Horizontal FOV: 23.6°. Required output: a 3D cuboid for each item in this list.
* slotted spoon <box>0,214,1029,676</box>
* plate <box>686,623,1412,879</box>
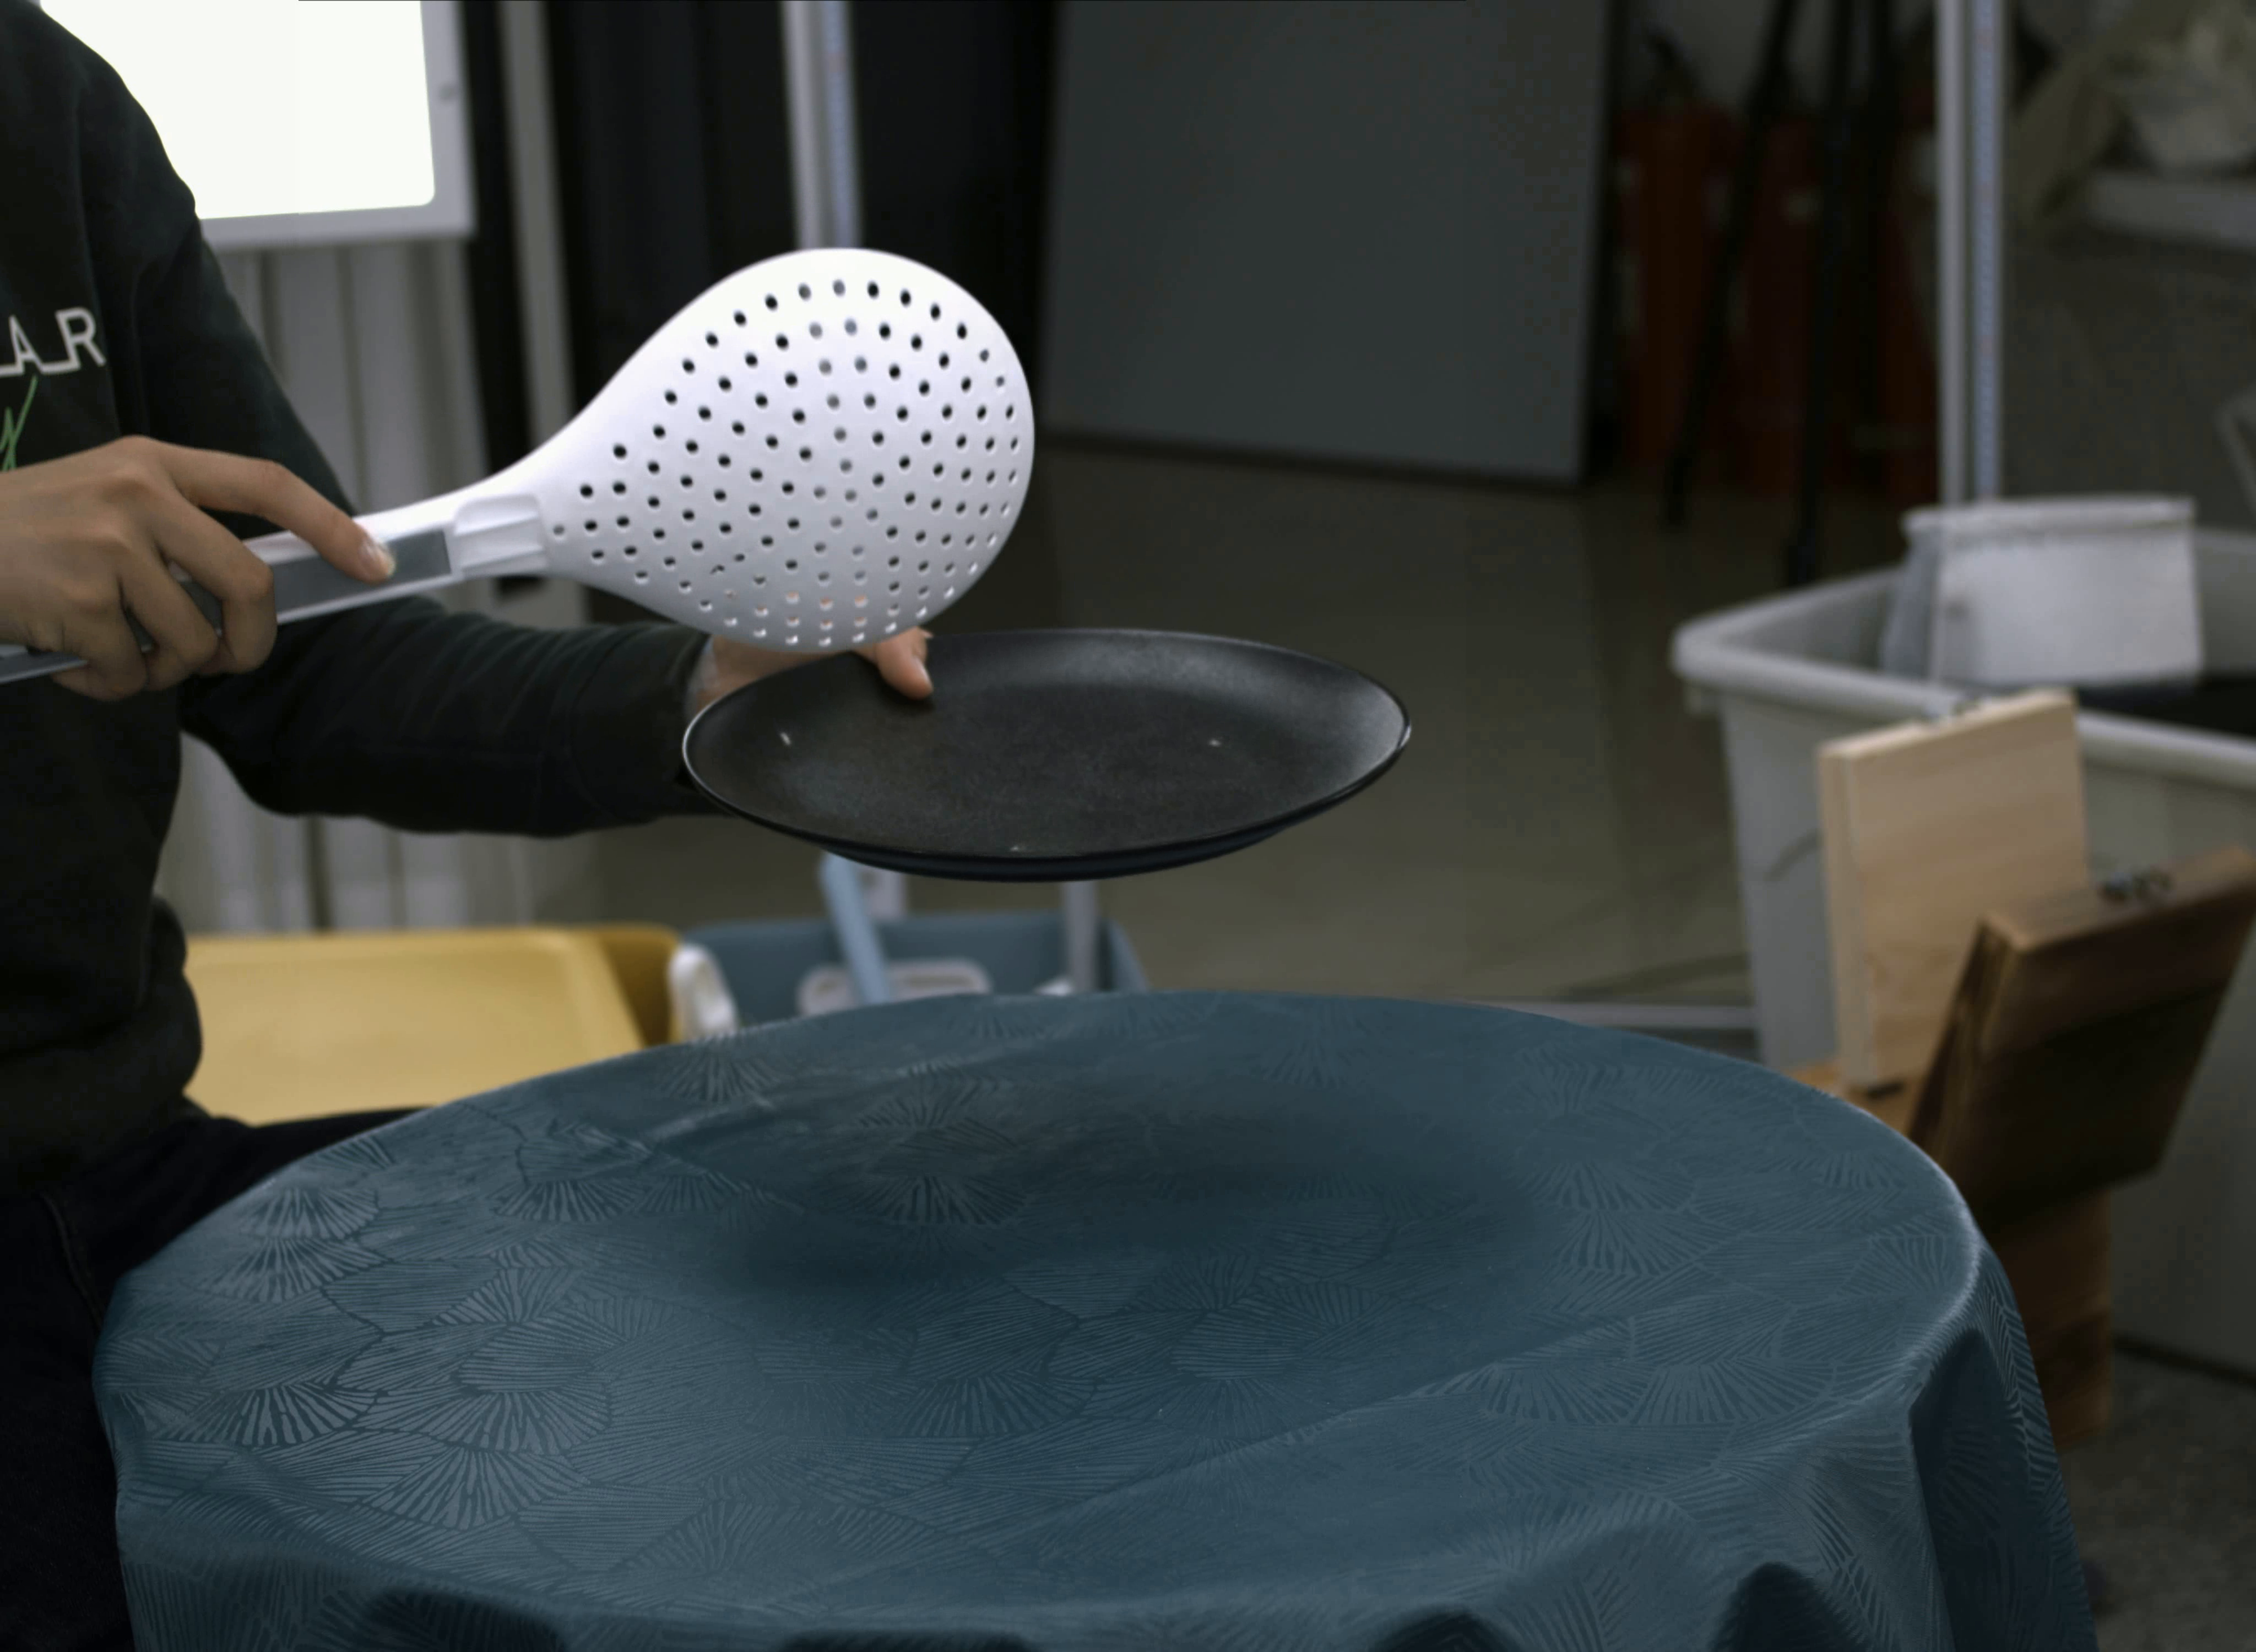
[{"bbox_3d":[-0.196,-0.097,1.676,0.345,0.137,0.046,-12,23,-5],"label":"slotted spoon"},{"bbox_3d":[-0.026,-0.023,1.786,0.241,0.023,0.245,-3,19,0],"label":"plate"}]
